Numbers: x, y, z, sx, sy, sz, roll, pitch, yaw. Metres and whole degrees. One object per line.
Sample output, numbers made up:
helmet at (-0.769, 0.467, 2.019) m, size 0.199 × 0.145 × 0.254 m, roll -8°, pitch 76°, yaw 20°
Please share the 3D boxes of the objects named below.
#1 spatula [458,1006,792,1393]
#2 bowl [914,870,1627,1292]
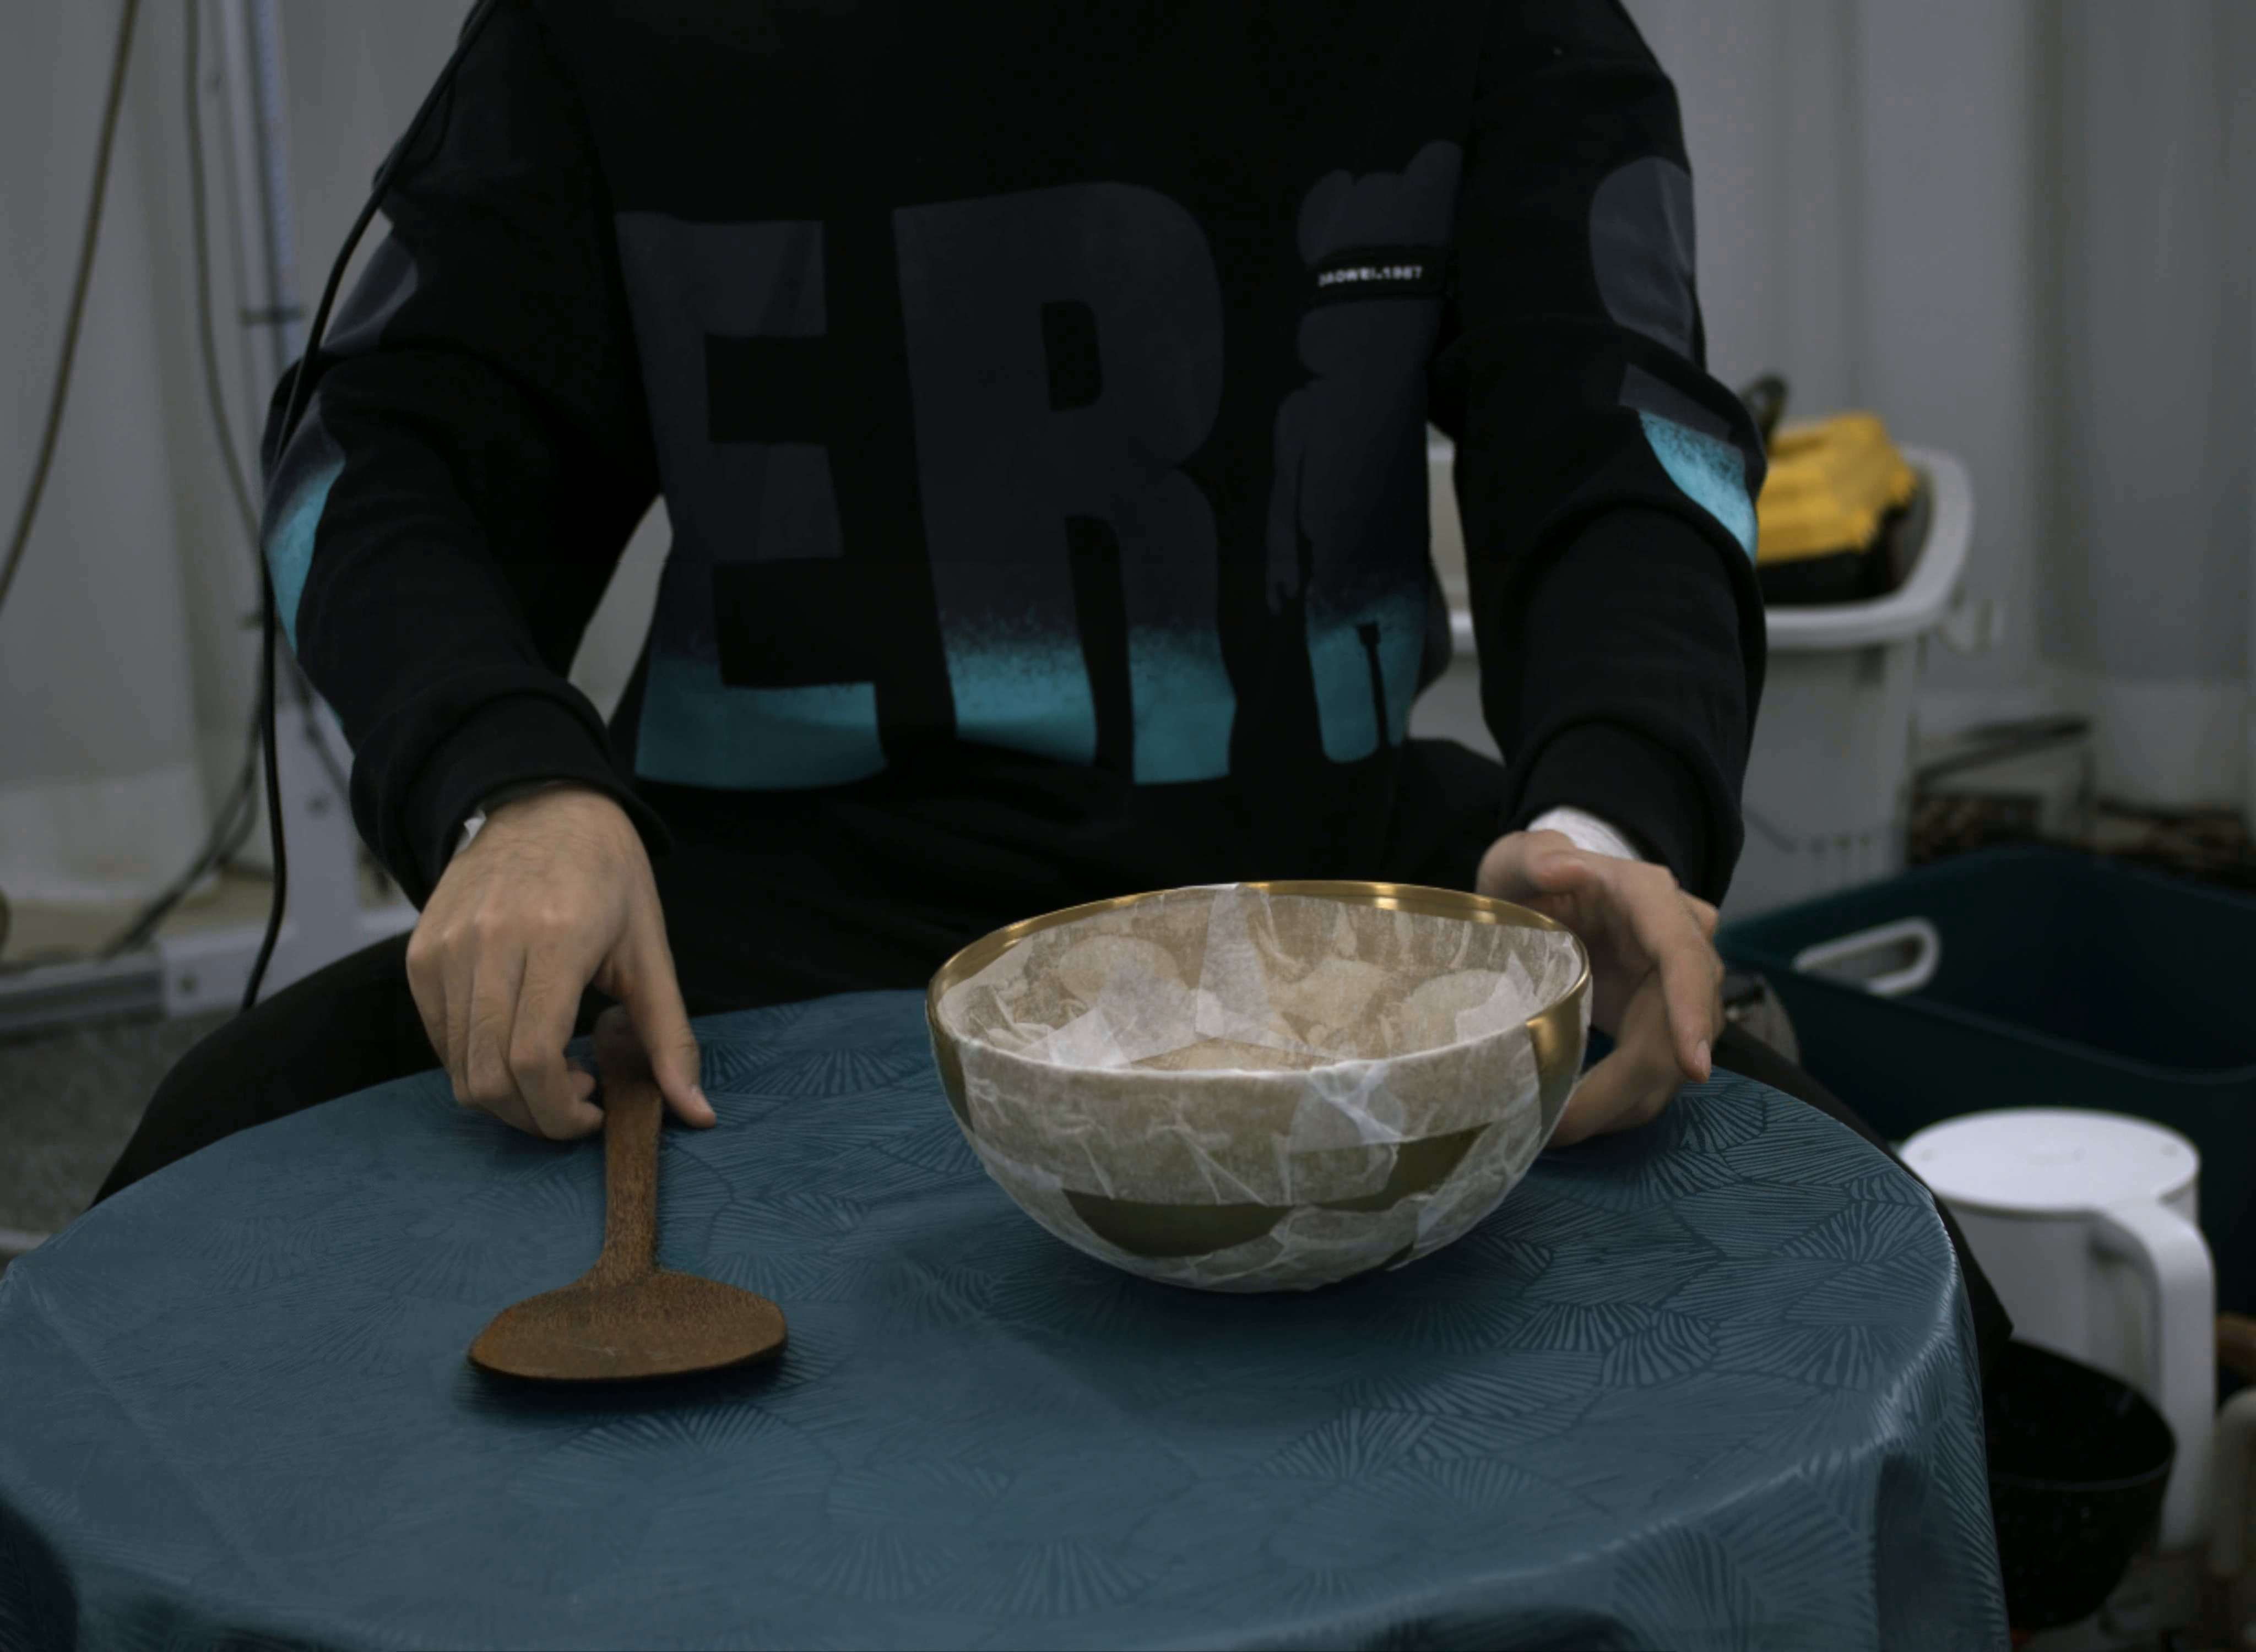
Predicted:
spatula at (-0.158, 0.112, 1.729) m, size 0.096 × 0.016 × 0.389 m, roll -4°, pitch 15°, yaw -4°
bowl at (0.044, 0.084, 1.639) m, size 0.214 × 0.094 × 0.216 m, roll -4°, pitch 14°, yaw 1°
